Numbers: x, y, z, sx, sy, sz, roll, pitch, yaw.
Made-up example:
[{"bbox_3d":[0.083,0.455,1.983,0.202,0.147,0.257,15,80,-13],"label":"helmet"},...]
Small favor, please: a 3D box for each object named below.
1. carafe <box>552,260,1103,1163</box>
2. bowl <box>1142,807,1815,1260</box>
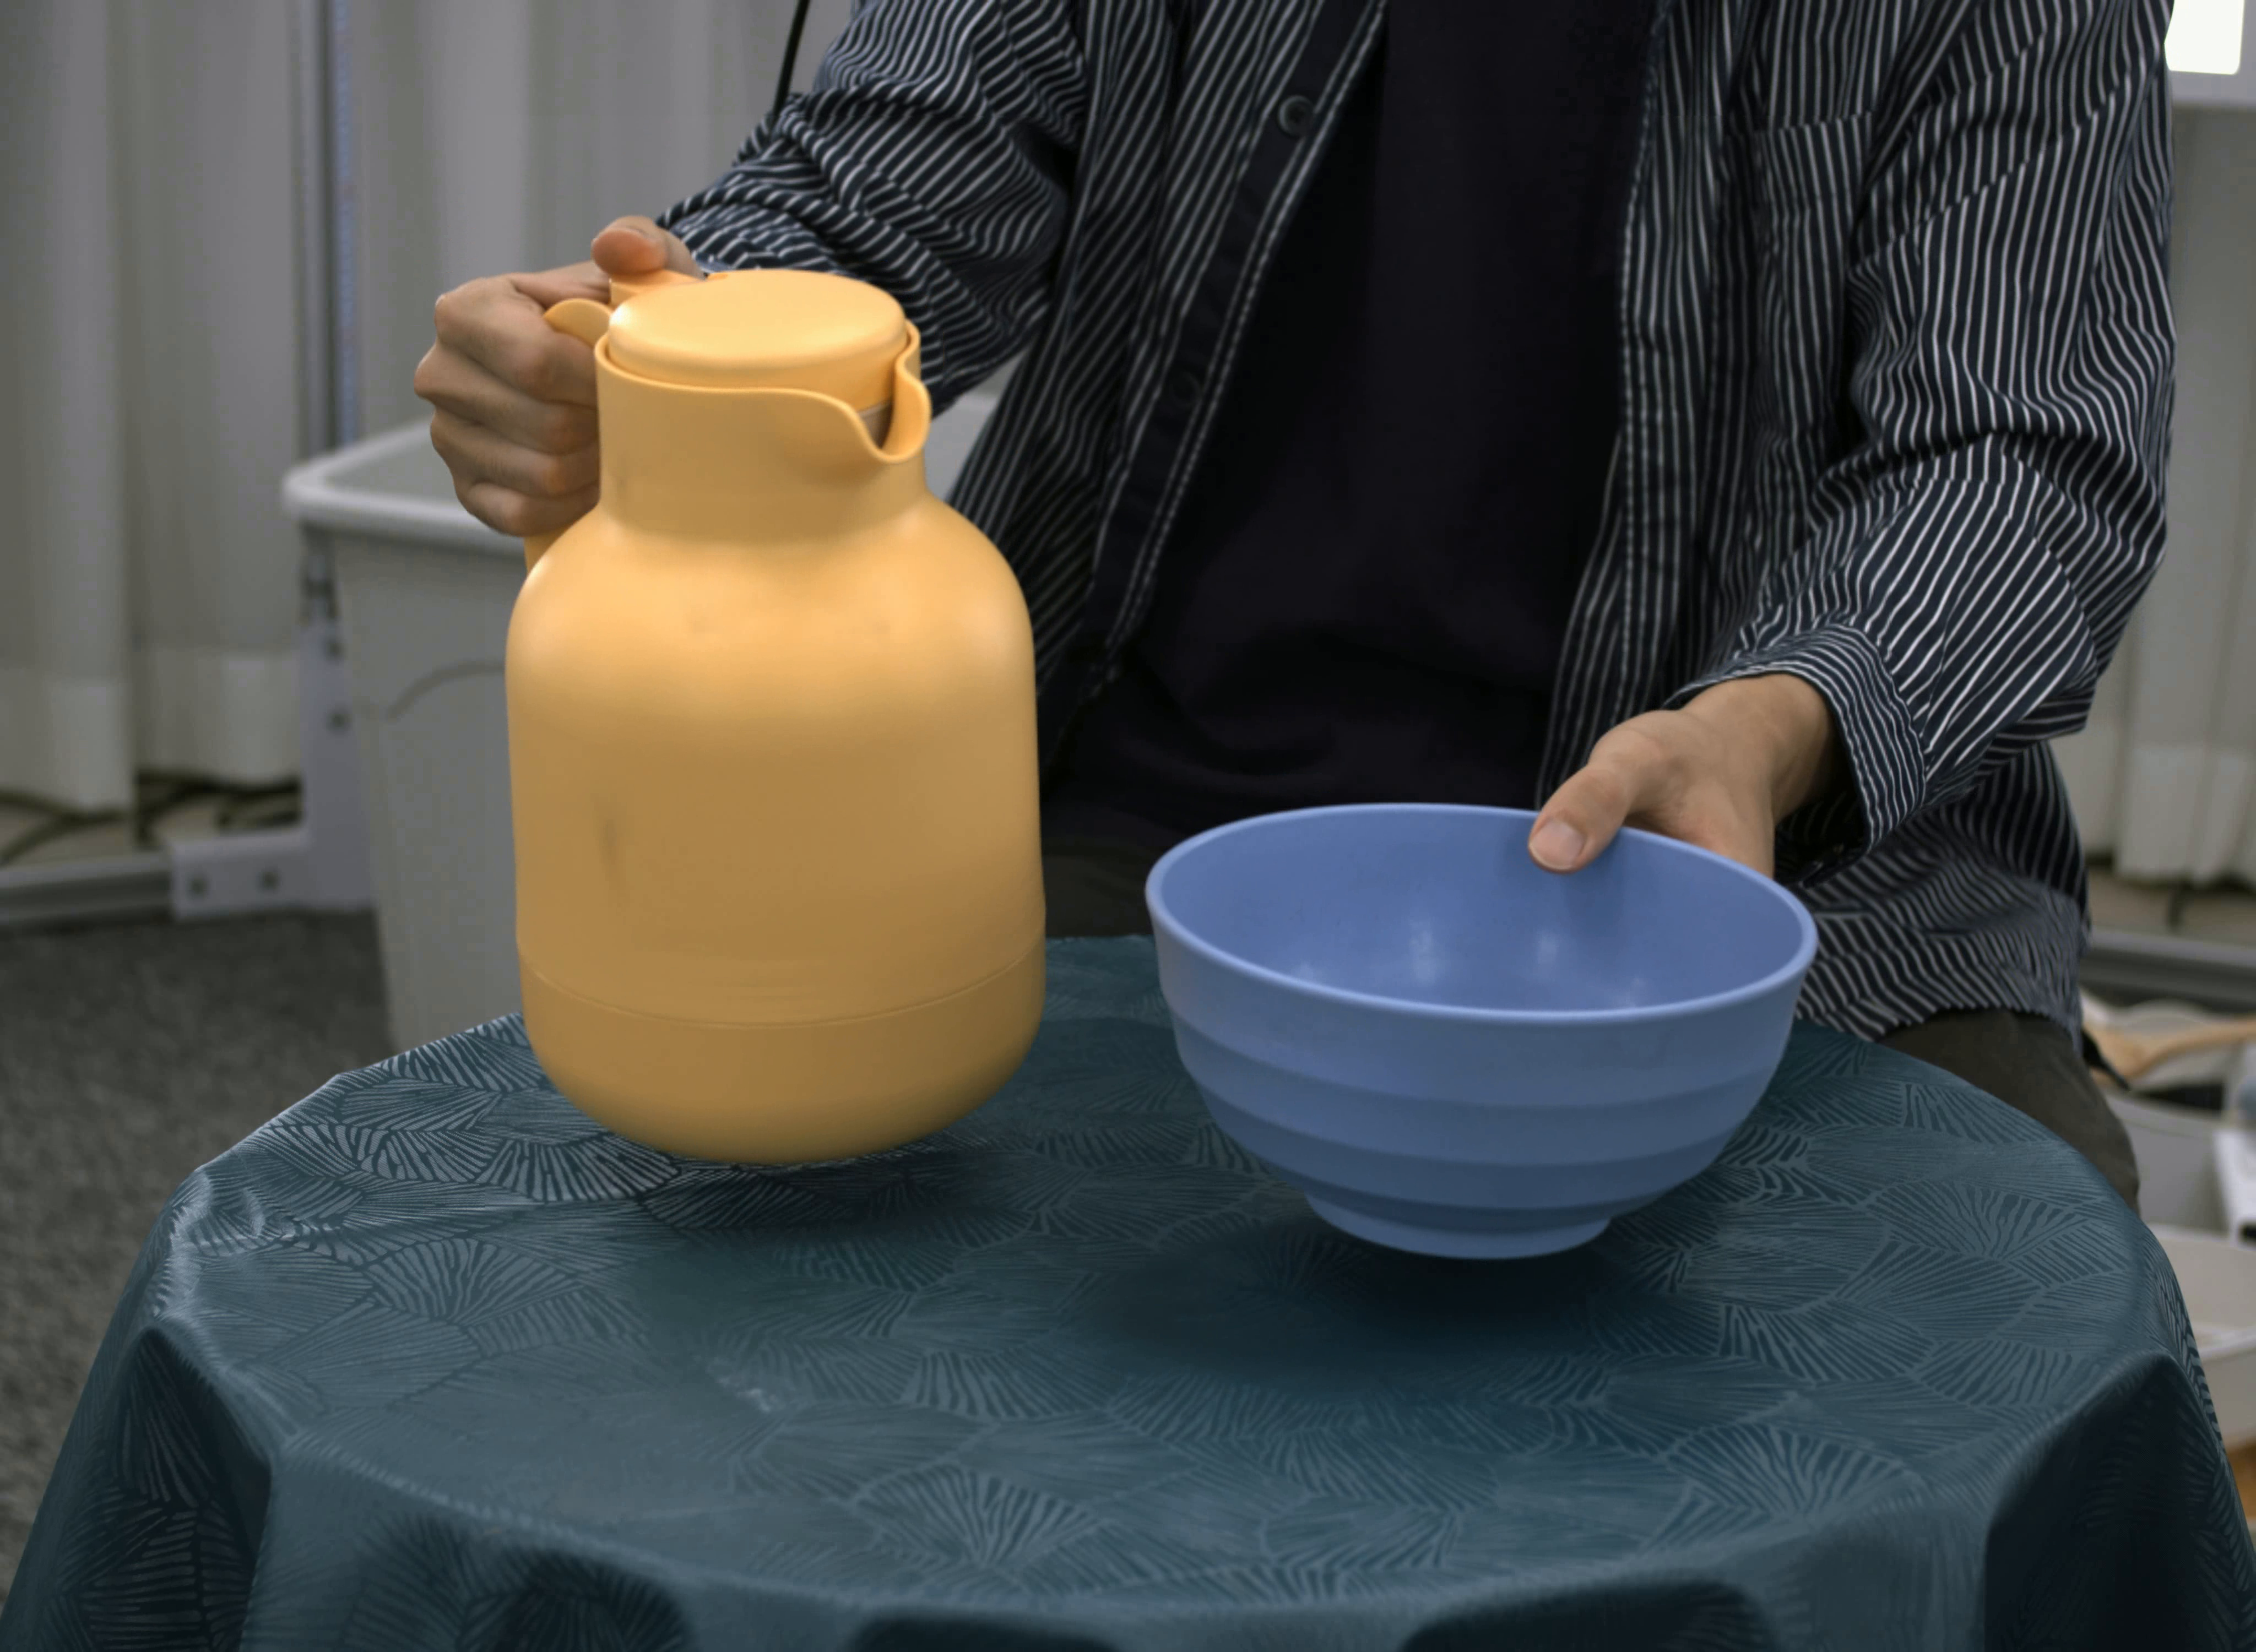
[{"bbox_3d":[-0.103,-0.044,1.609,0.164,0.263,0.199,-19,28,-35],"label":"carafe"},{"bbox_3d":[0.100,0.067,1.547,0.196,0.096,0.195,3,17,0],"label":"bowl"}]
